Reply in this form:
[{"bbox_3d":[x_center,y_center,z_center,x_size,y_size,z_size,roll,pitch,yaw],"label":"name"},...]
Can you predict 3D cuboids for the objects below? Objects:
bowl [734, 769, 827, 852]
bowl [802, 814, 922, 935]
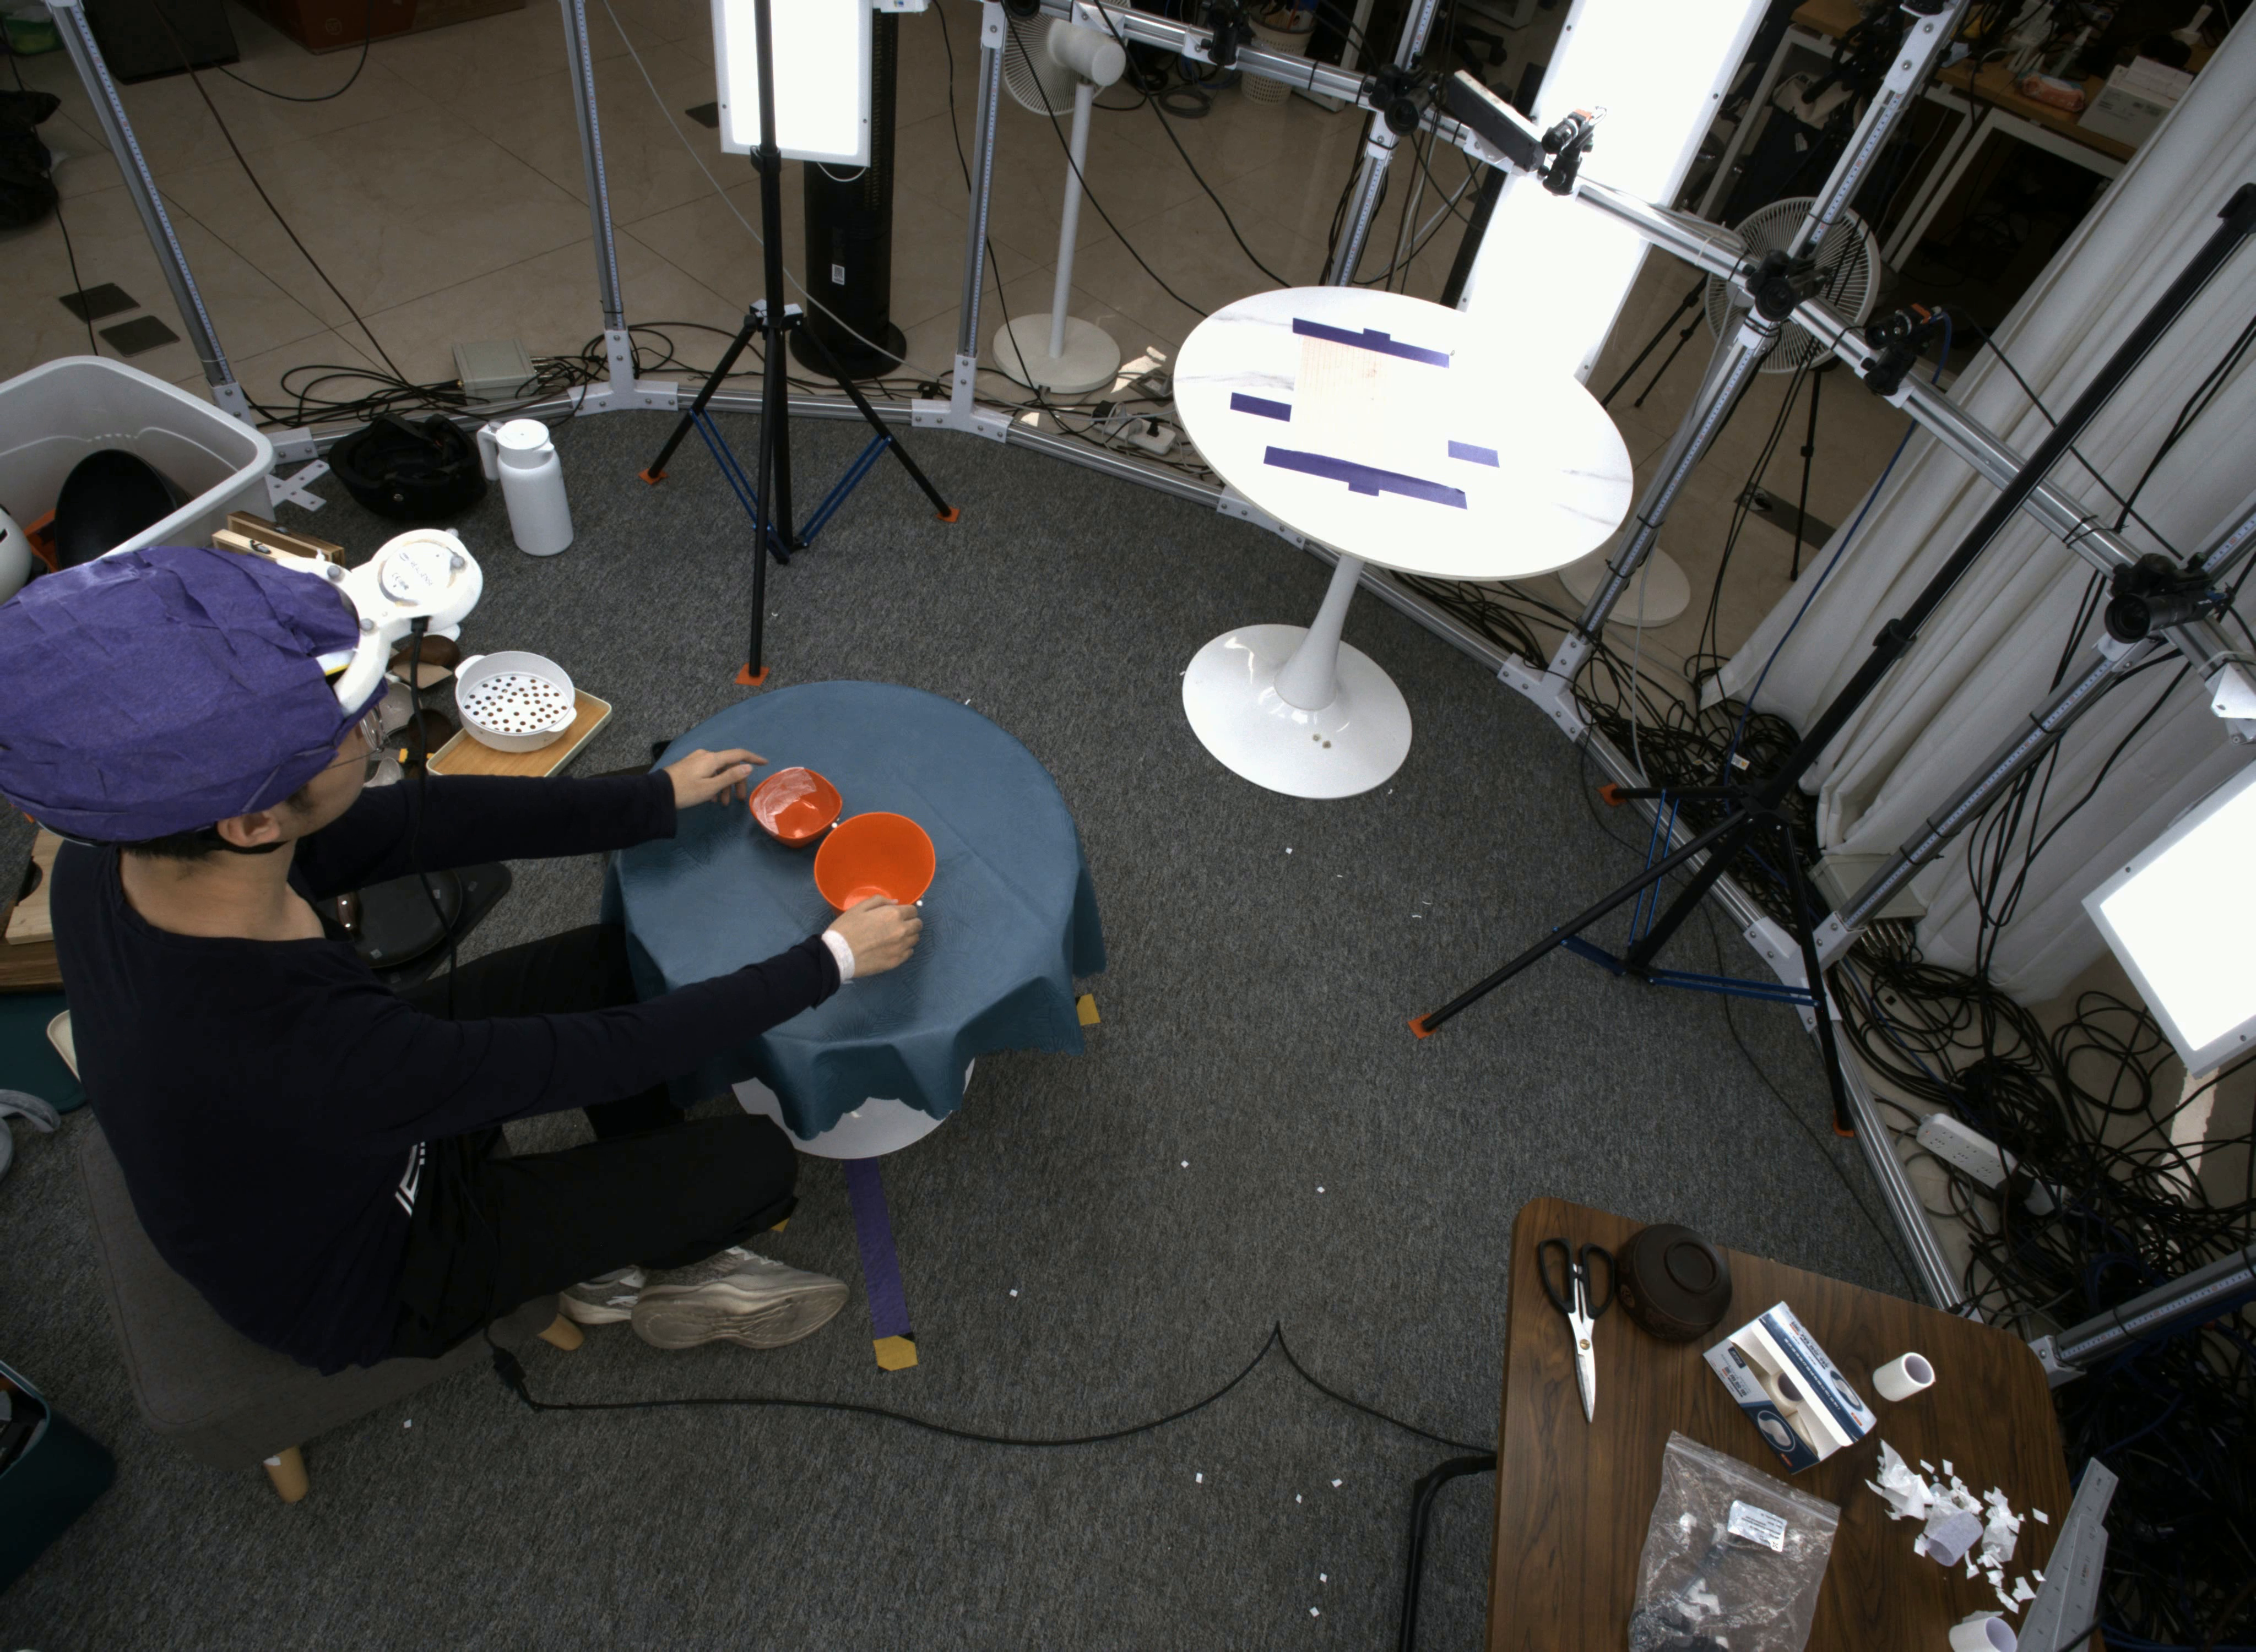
[{"bbox_3d":[-0.456,-0.013,1.705,0.119,0.052,0.117,7,54,-9],"label":"bowl"},{"bbox_3d":[-0.335,0.073,1.640,0.147,0.107,0.145,7,53,-8],"label":"bowl"}]
